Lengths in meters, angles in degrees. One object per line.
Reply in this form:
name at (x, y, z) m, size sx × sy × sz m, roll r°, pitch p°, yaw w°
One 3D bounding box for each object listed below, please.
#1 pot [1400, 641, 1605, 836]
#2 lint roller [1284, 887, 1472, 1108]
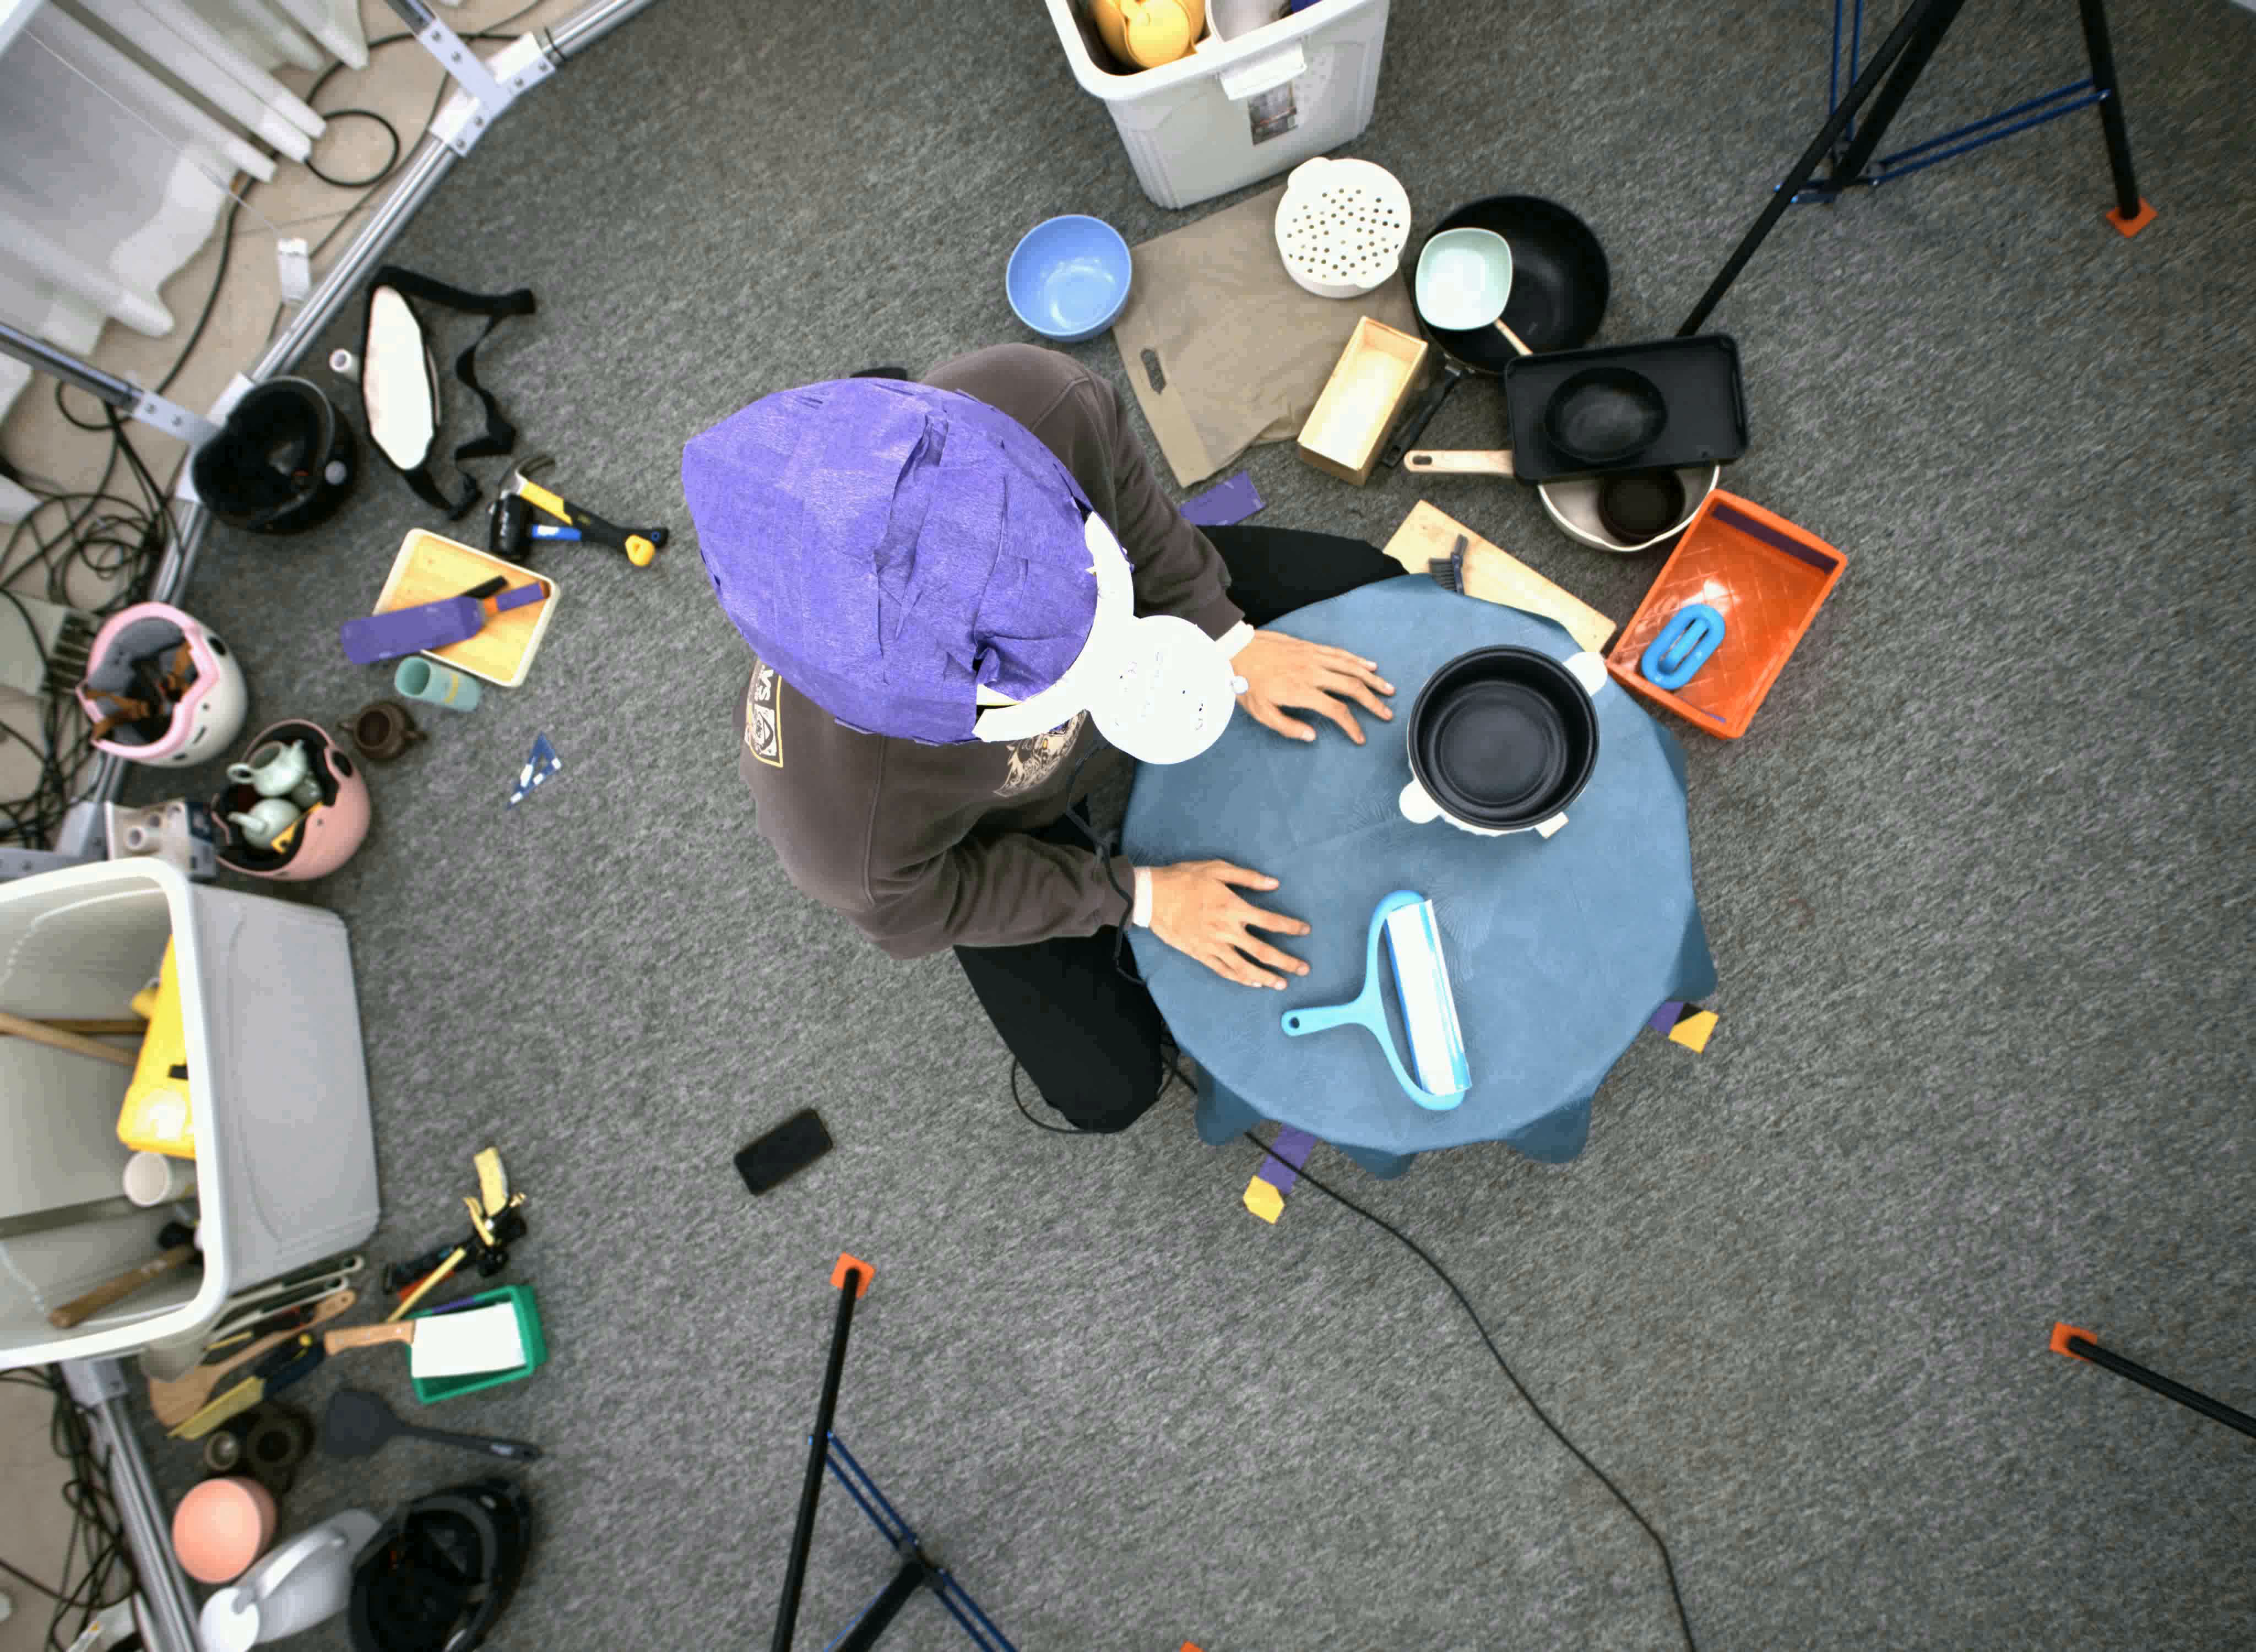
pot at (0.374, -0.079, 1.375) m, size 0.242 × 0.143 × 0.189 m, roll -40°, pitch 78°, yaw 7°
lint roller at (0.249, 0.188, 1.427) m, size 0.181 × 0.068 × 0.228 m, roll -14°, pitch 86°, yaw 8°
